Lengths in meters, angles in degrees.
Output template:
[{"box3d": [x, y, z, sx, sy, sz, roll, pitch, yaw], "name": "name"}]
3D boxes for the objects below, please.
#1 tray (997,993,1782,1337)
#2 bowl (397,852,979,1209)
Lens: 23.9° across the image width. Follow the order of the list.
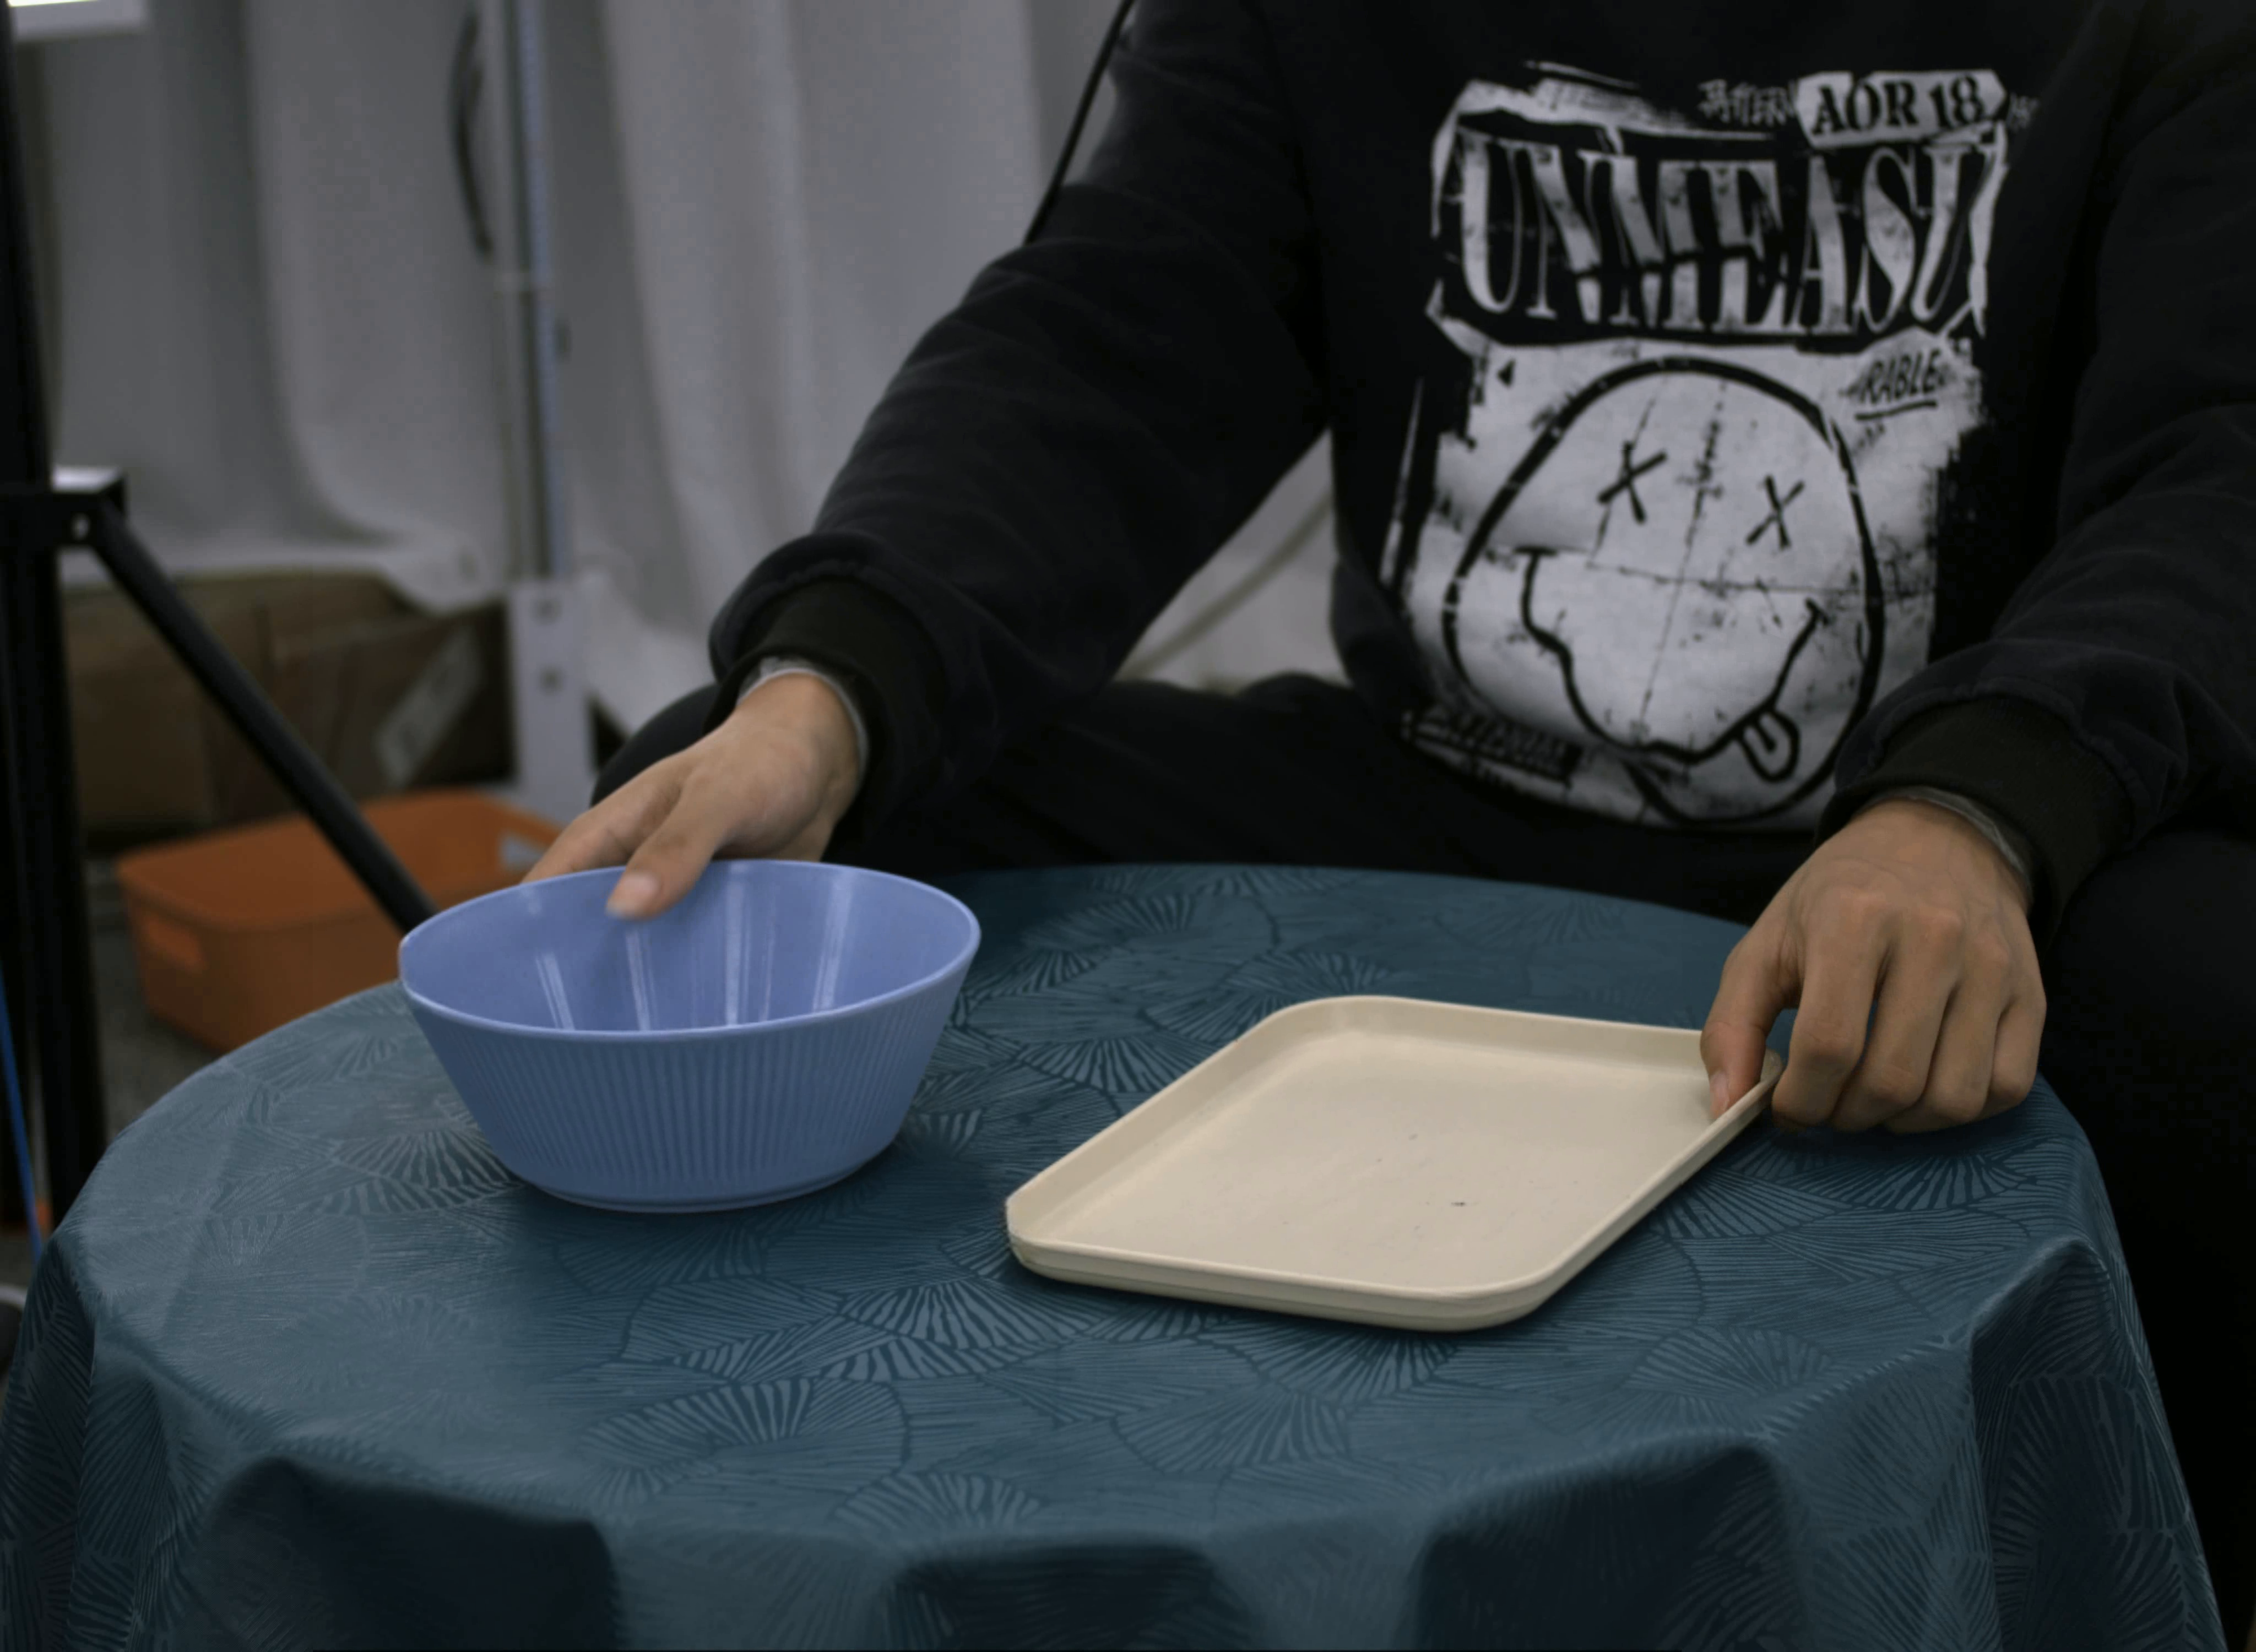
[{"box3d": [0.080, 0.098, 1.549, 0.174, 0.017, 0.236, 6, 18, 27], "name": "tray"}, {"box3d": [-0.130, 0.064, 1.604, 0.175, 0.070, 0.177, -3, 17, 0], "name": "bowl"}]
